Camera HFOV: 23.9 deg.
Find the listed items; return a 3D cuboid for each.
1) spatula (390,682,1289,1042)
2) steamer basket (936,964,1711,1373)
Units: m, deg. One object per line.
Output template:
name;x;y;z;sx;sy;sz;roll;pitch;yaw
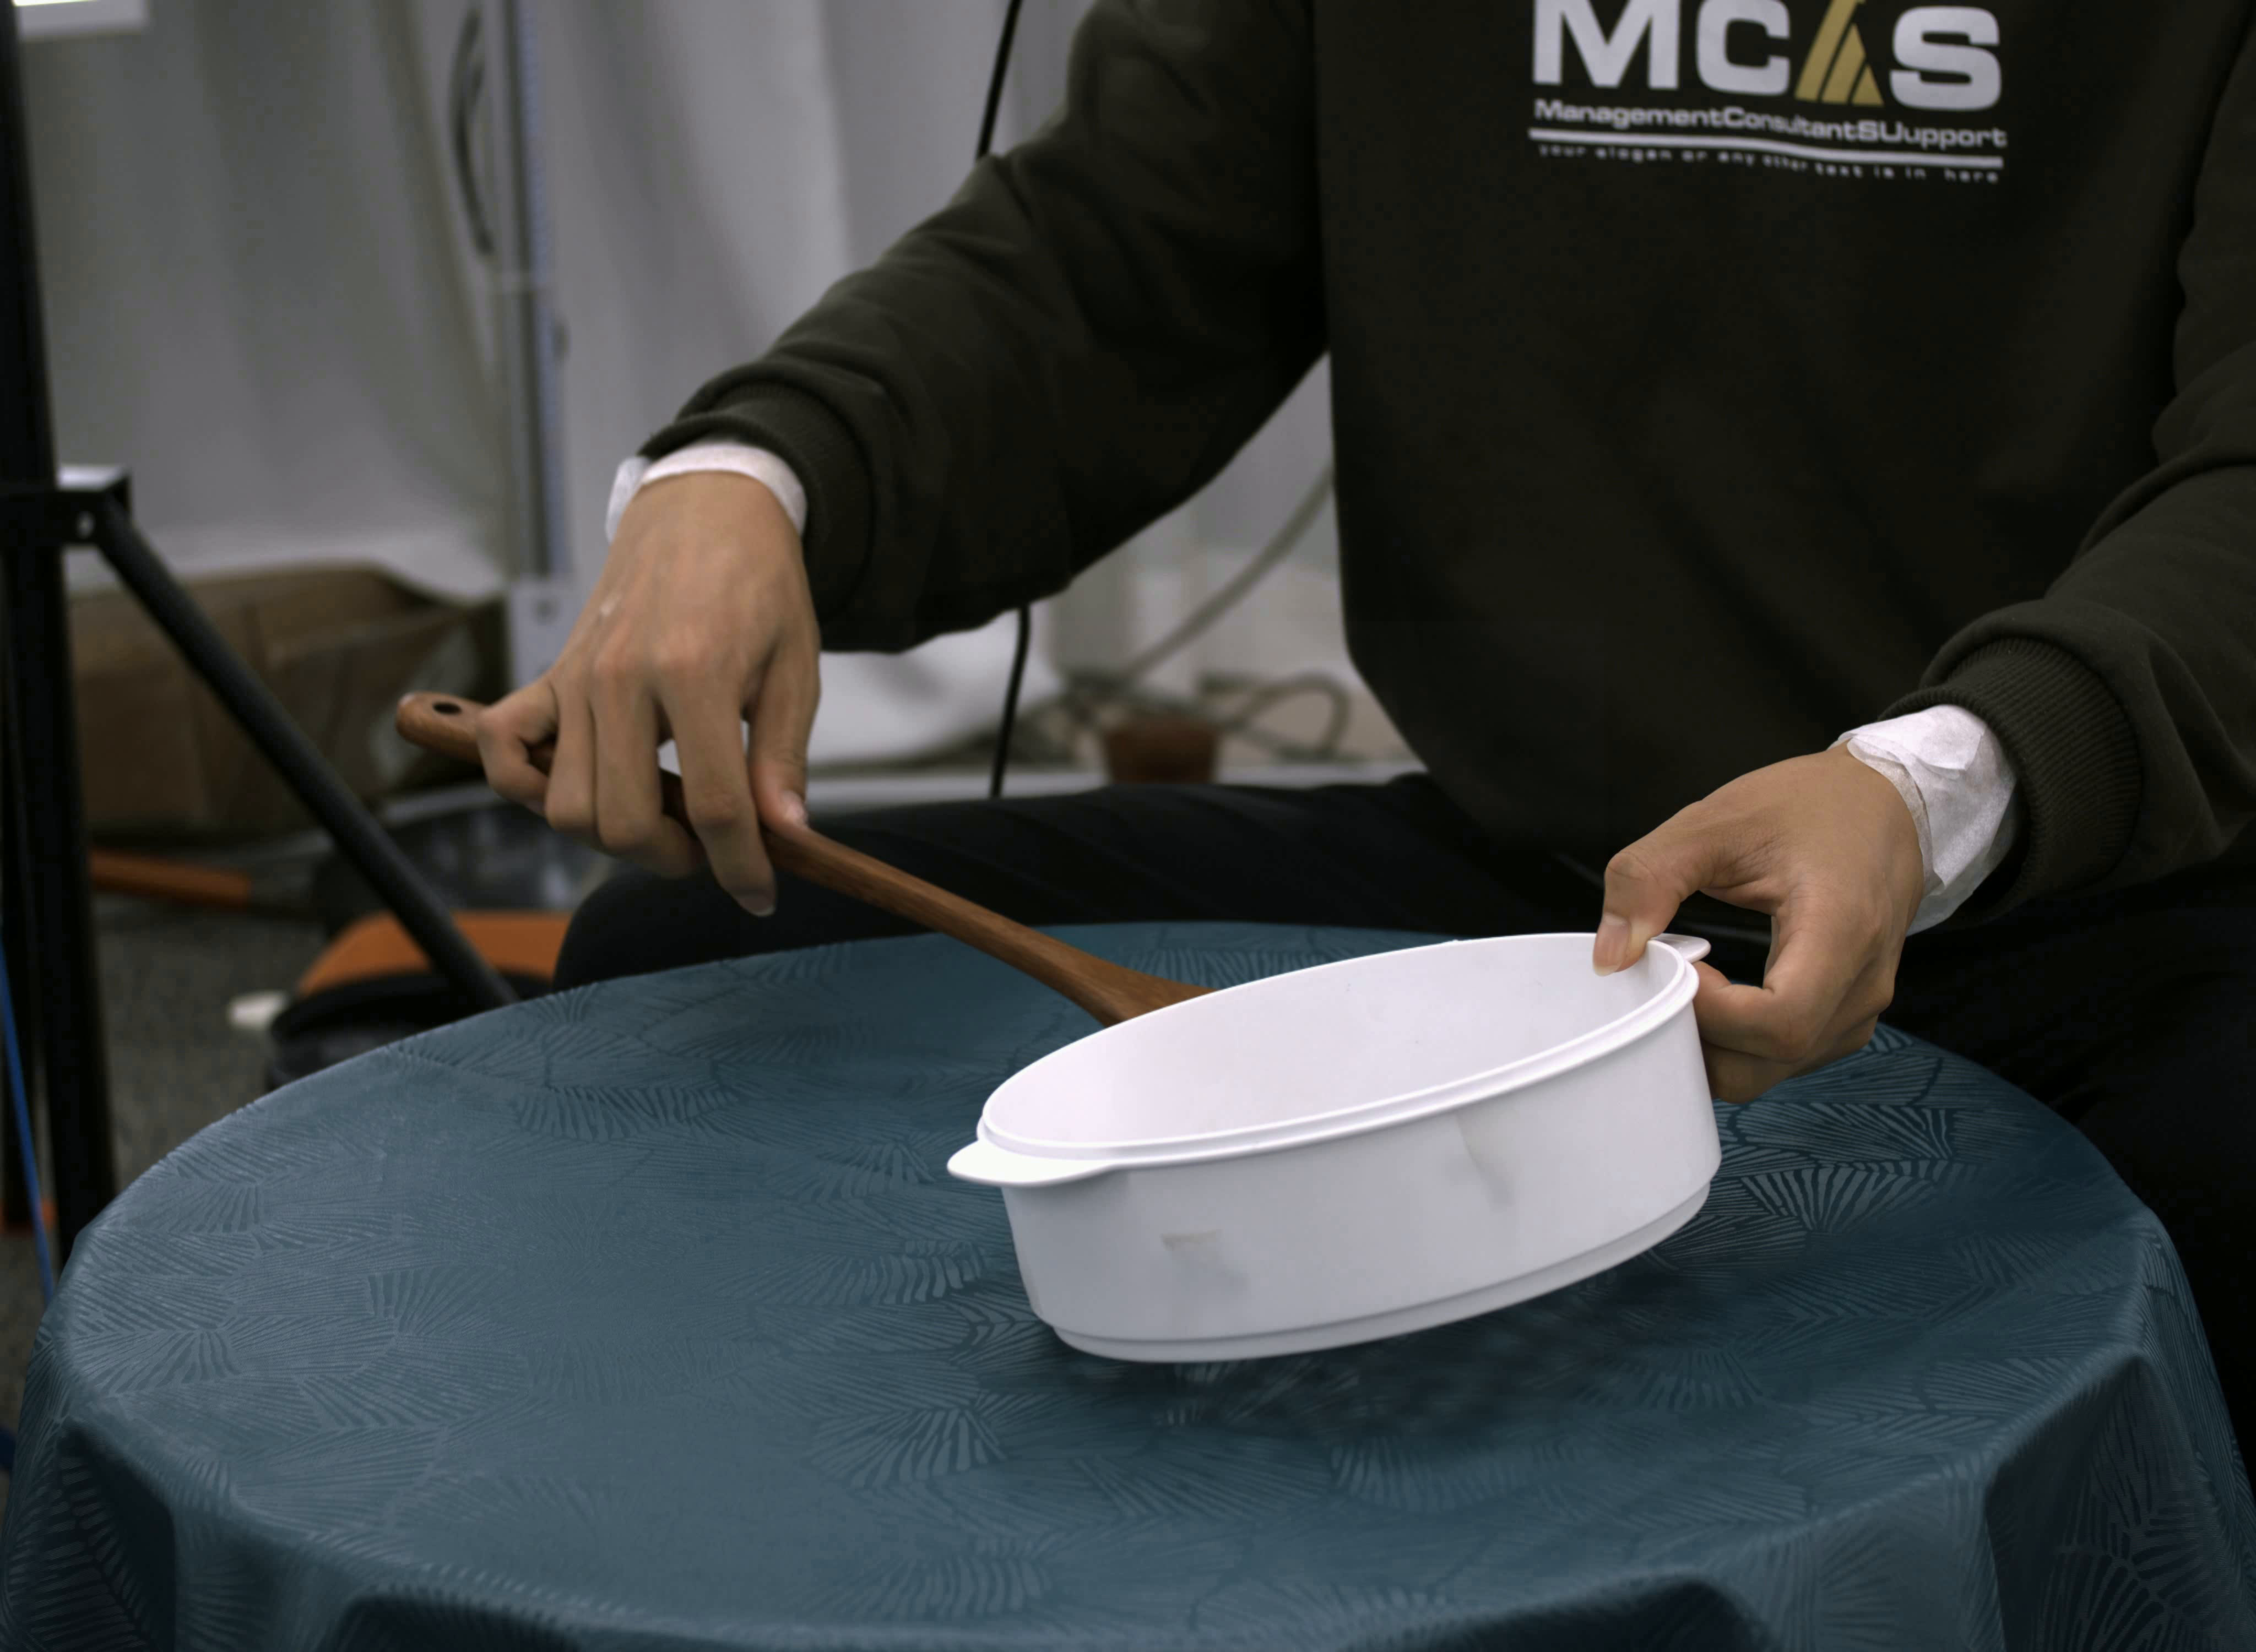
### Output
spatula;-0.066;0.027;1.672;0.390;0.024;0.085;22;27;18
steamer basket;0.059;0.093;1.442;0.226;0.069;0.206;-14;11;-27
